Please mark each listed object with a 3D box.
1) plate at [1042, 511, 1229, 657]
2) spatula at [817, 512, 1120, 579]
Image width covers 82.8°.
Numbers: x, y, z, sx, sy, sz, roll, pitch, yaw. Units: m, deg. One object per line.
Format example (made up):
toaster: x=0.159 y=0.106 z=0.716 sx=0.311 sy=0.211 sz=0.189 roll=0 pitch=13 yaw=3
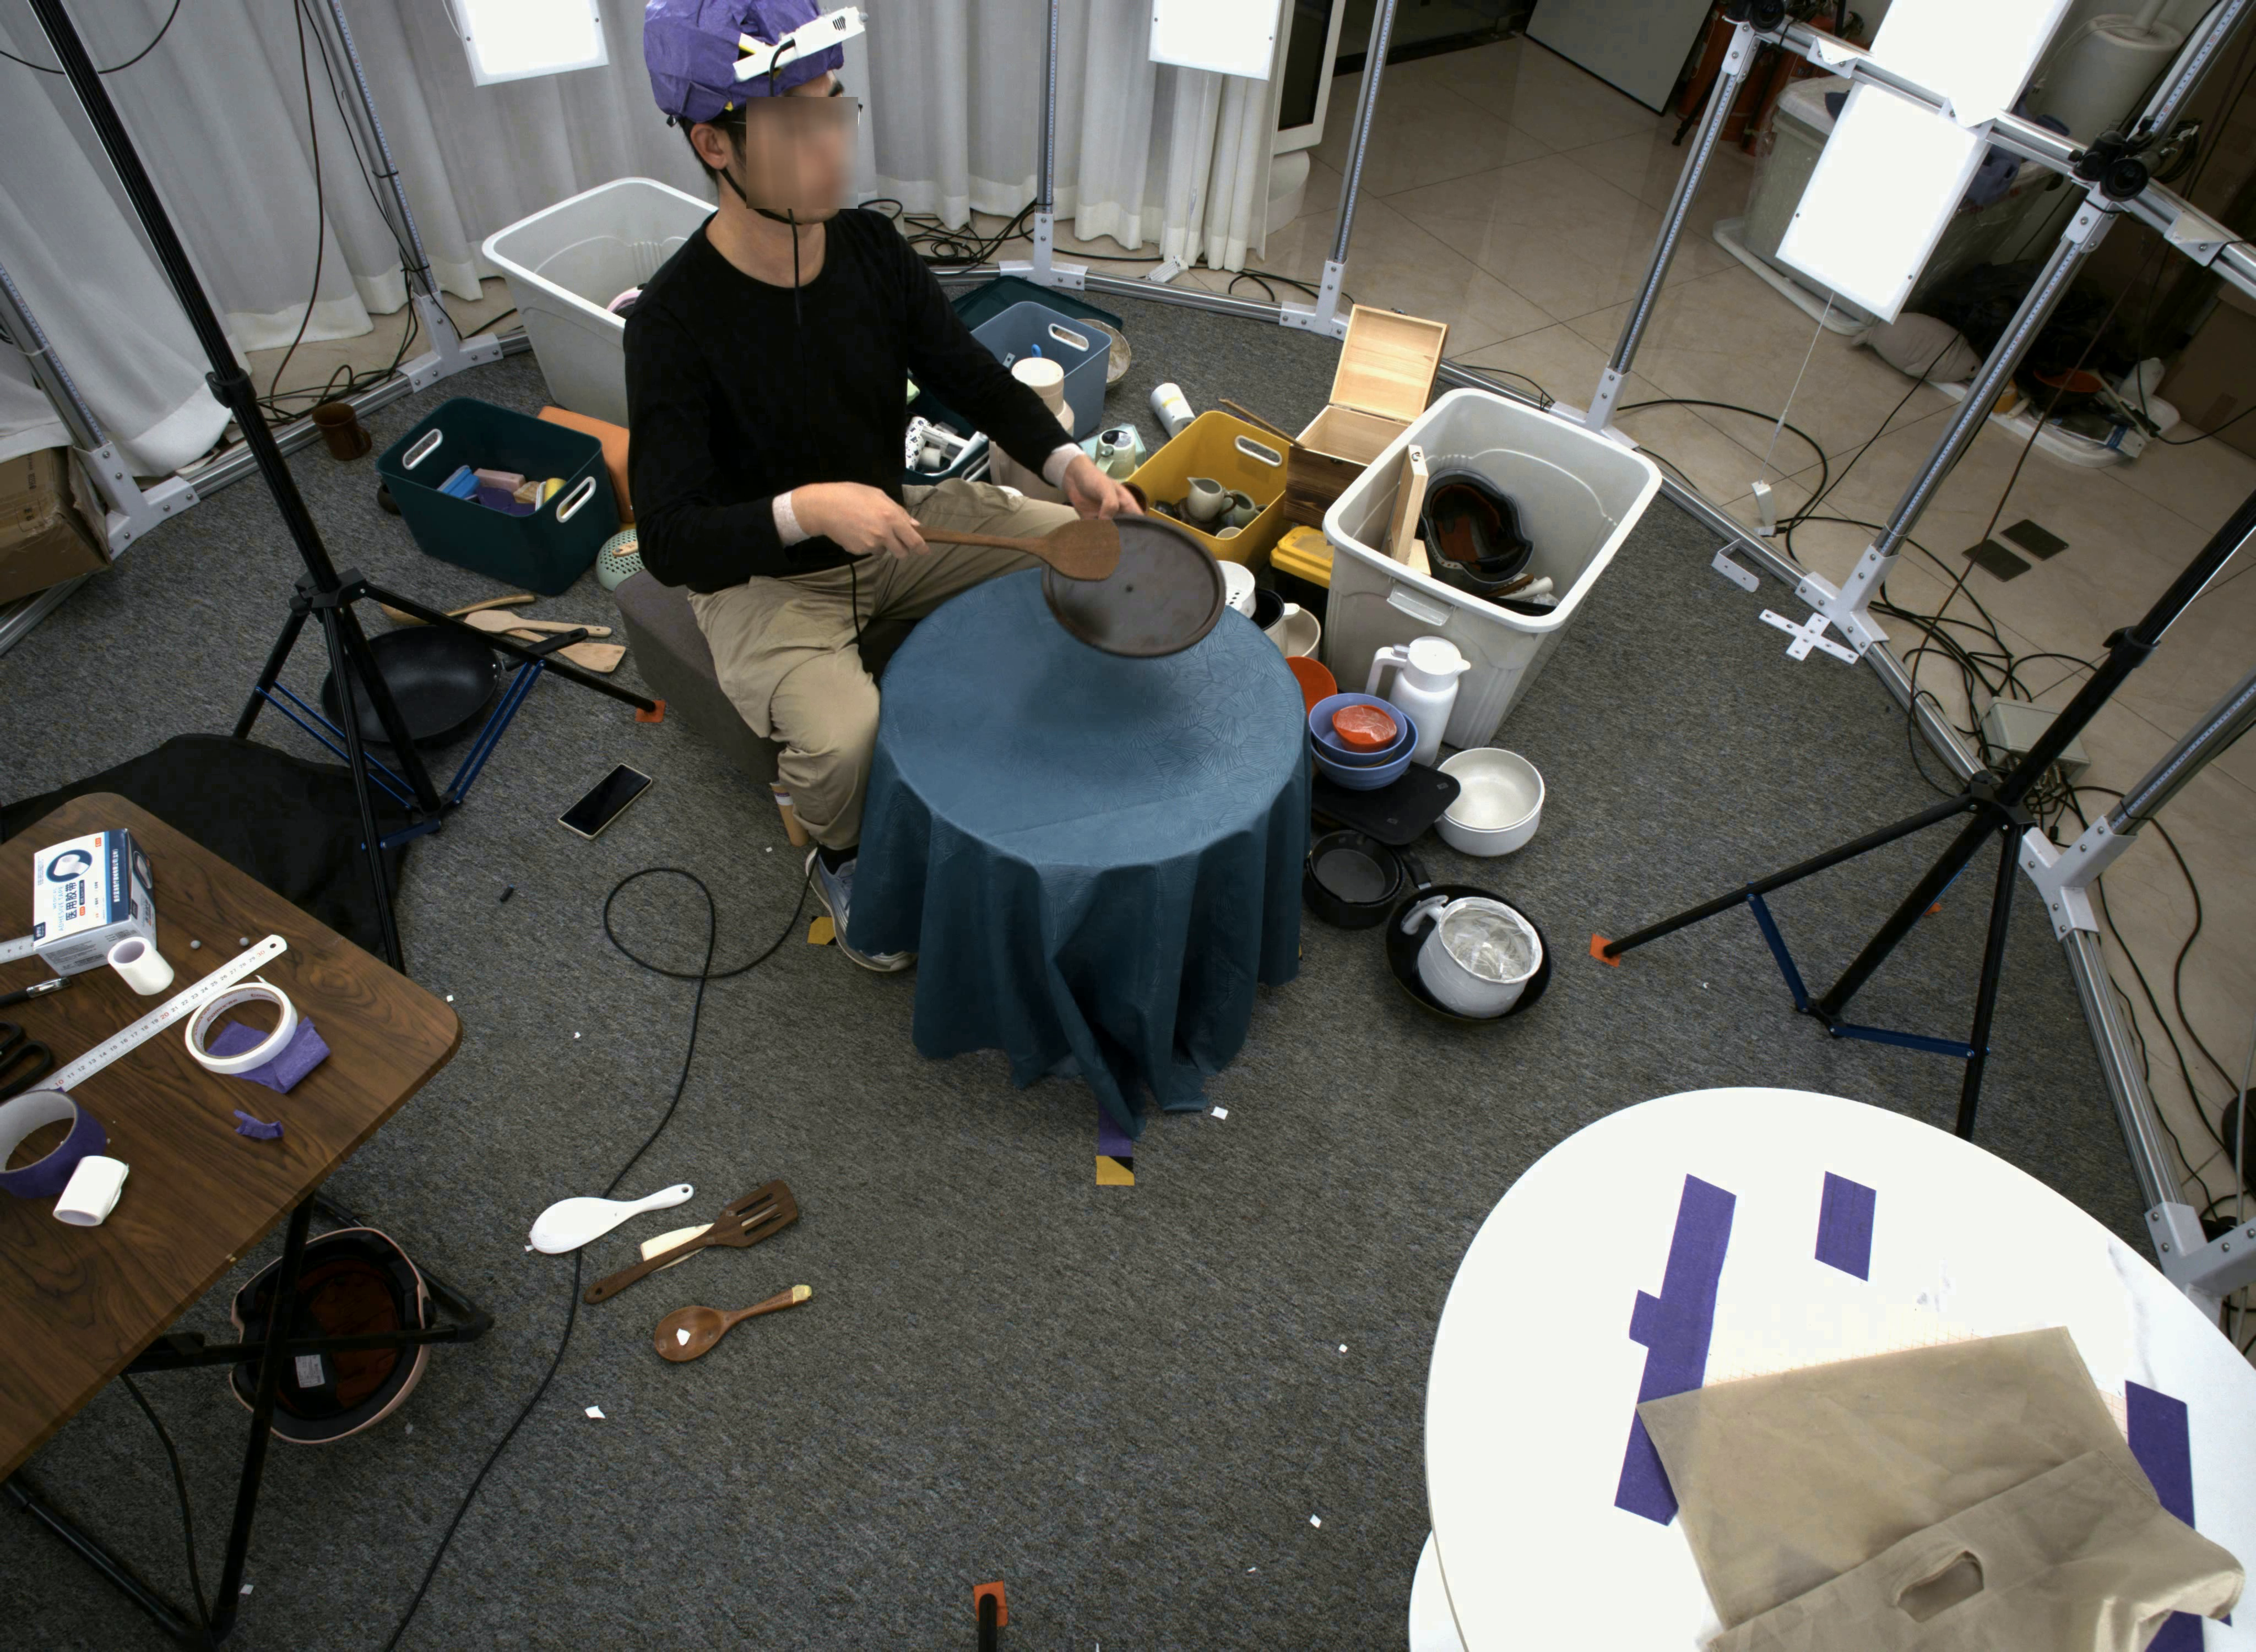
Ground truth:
plate: x=0.010 y=-0.328 z=1.736 sx=0.254 sy=0.028 sz=0.260 roll=3 pitch=58 yaw=-5
spatula: x=-0.203 y=-0.371 z=1.658 sx=0.385 sy=0.015 sz=0.098 roll=4 pitch=66 yaw=-3
